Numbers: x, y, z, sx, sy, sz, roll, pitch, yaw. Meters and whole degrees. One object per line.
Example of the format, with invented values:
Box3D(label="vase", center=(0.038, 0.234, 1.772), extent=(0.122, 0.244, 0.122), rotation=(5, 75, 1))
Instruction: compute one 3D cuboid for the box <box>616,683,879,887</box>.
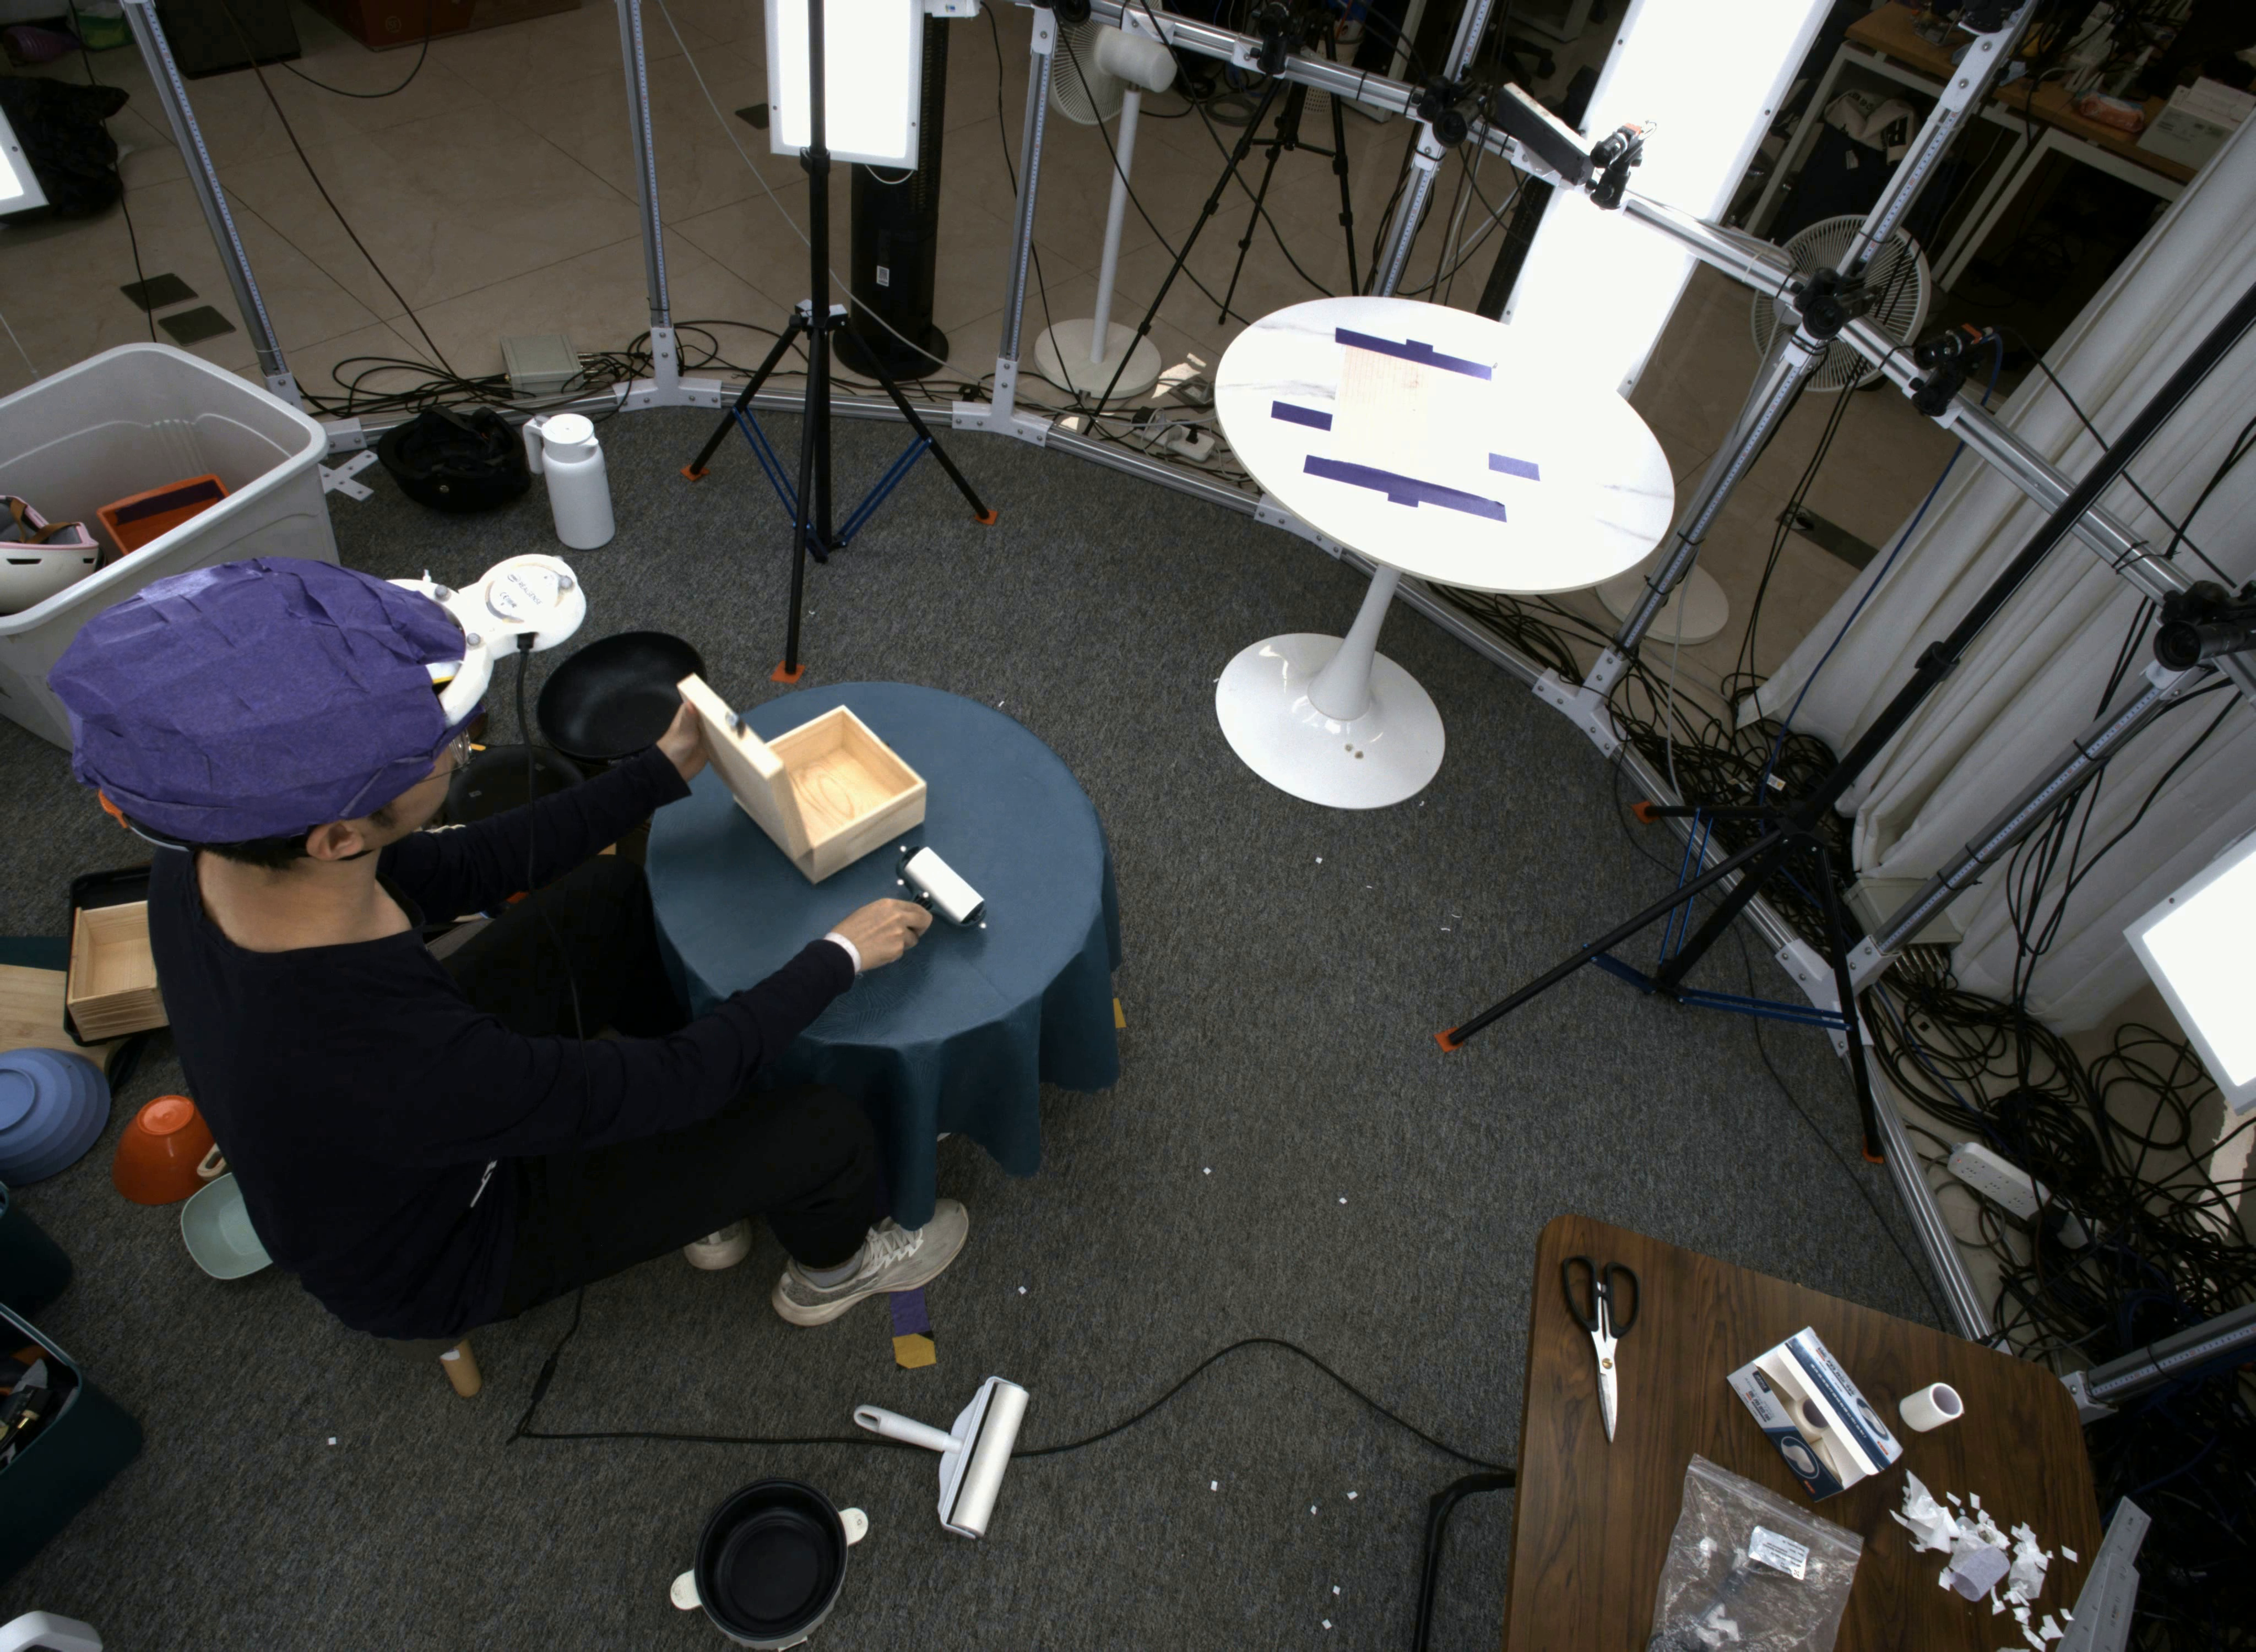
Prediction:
Box3D(label="box", center=(-0.465, -0.086, 1.613), extent=(0.177, 0.259, 0.265), rotation=(37, 51, 19))

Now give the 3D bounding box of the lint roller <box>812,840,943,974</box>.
Box3D(label="lint roller", center=(-0.323, 0.111, 1.599), extent=(0.134, 0.048, 0.179), rotation=(41, 45, 0))
